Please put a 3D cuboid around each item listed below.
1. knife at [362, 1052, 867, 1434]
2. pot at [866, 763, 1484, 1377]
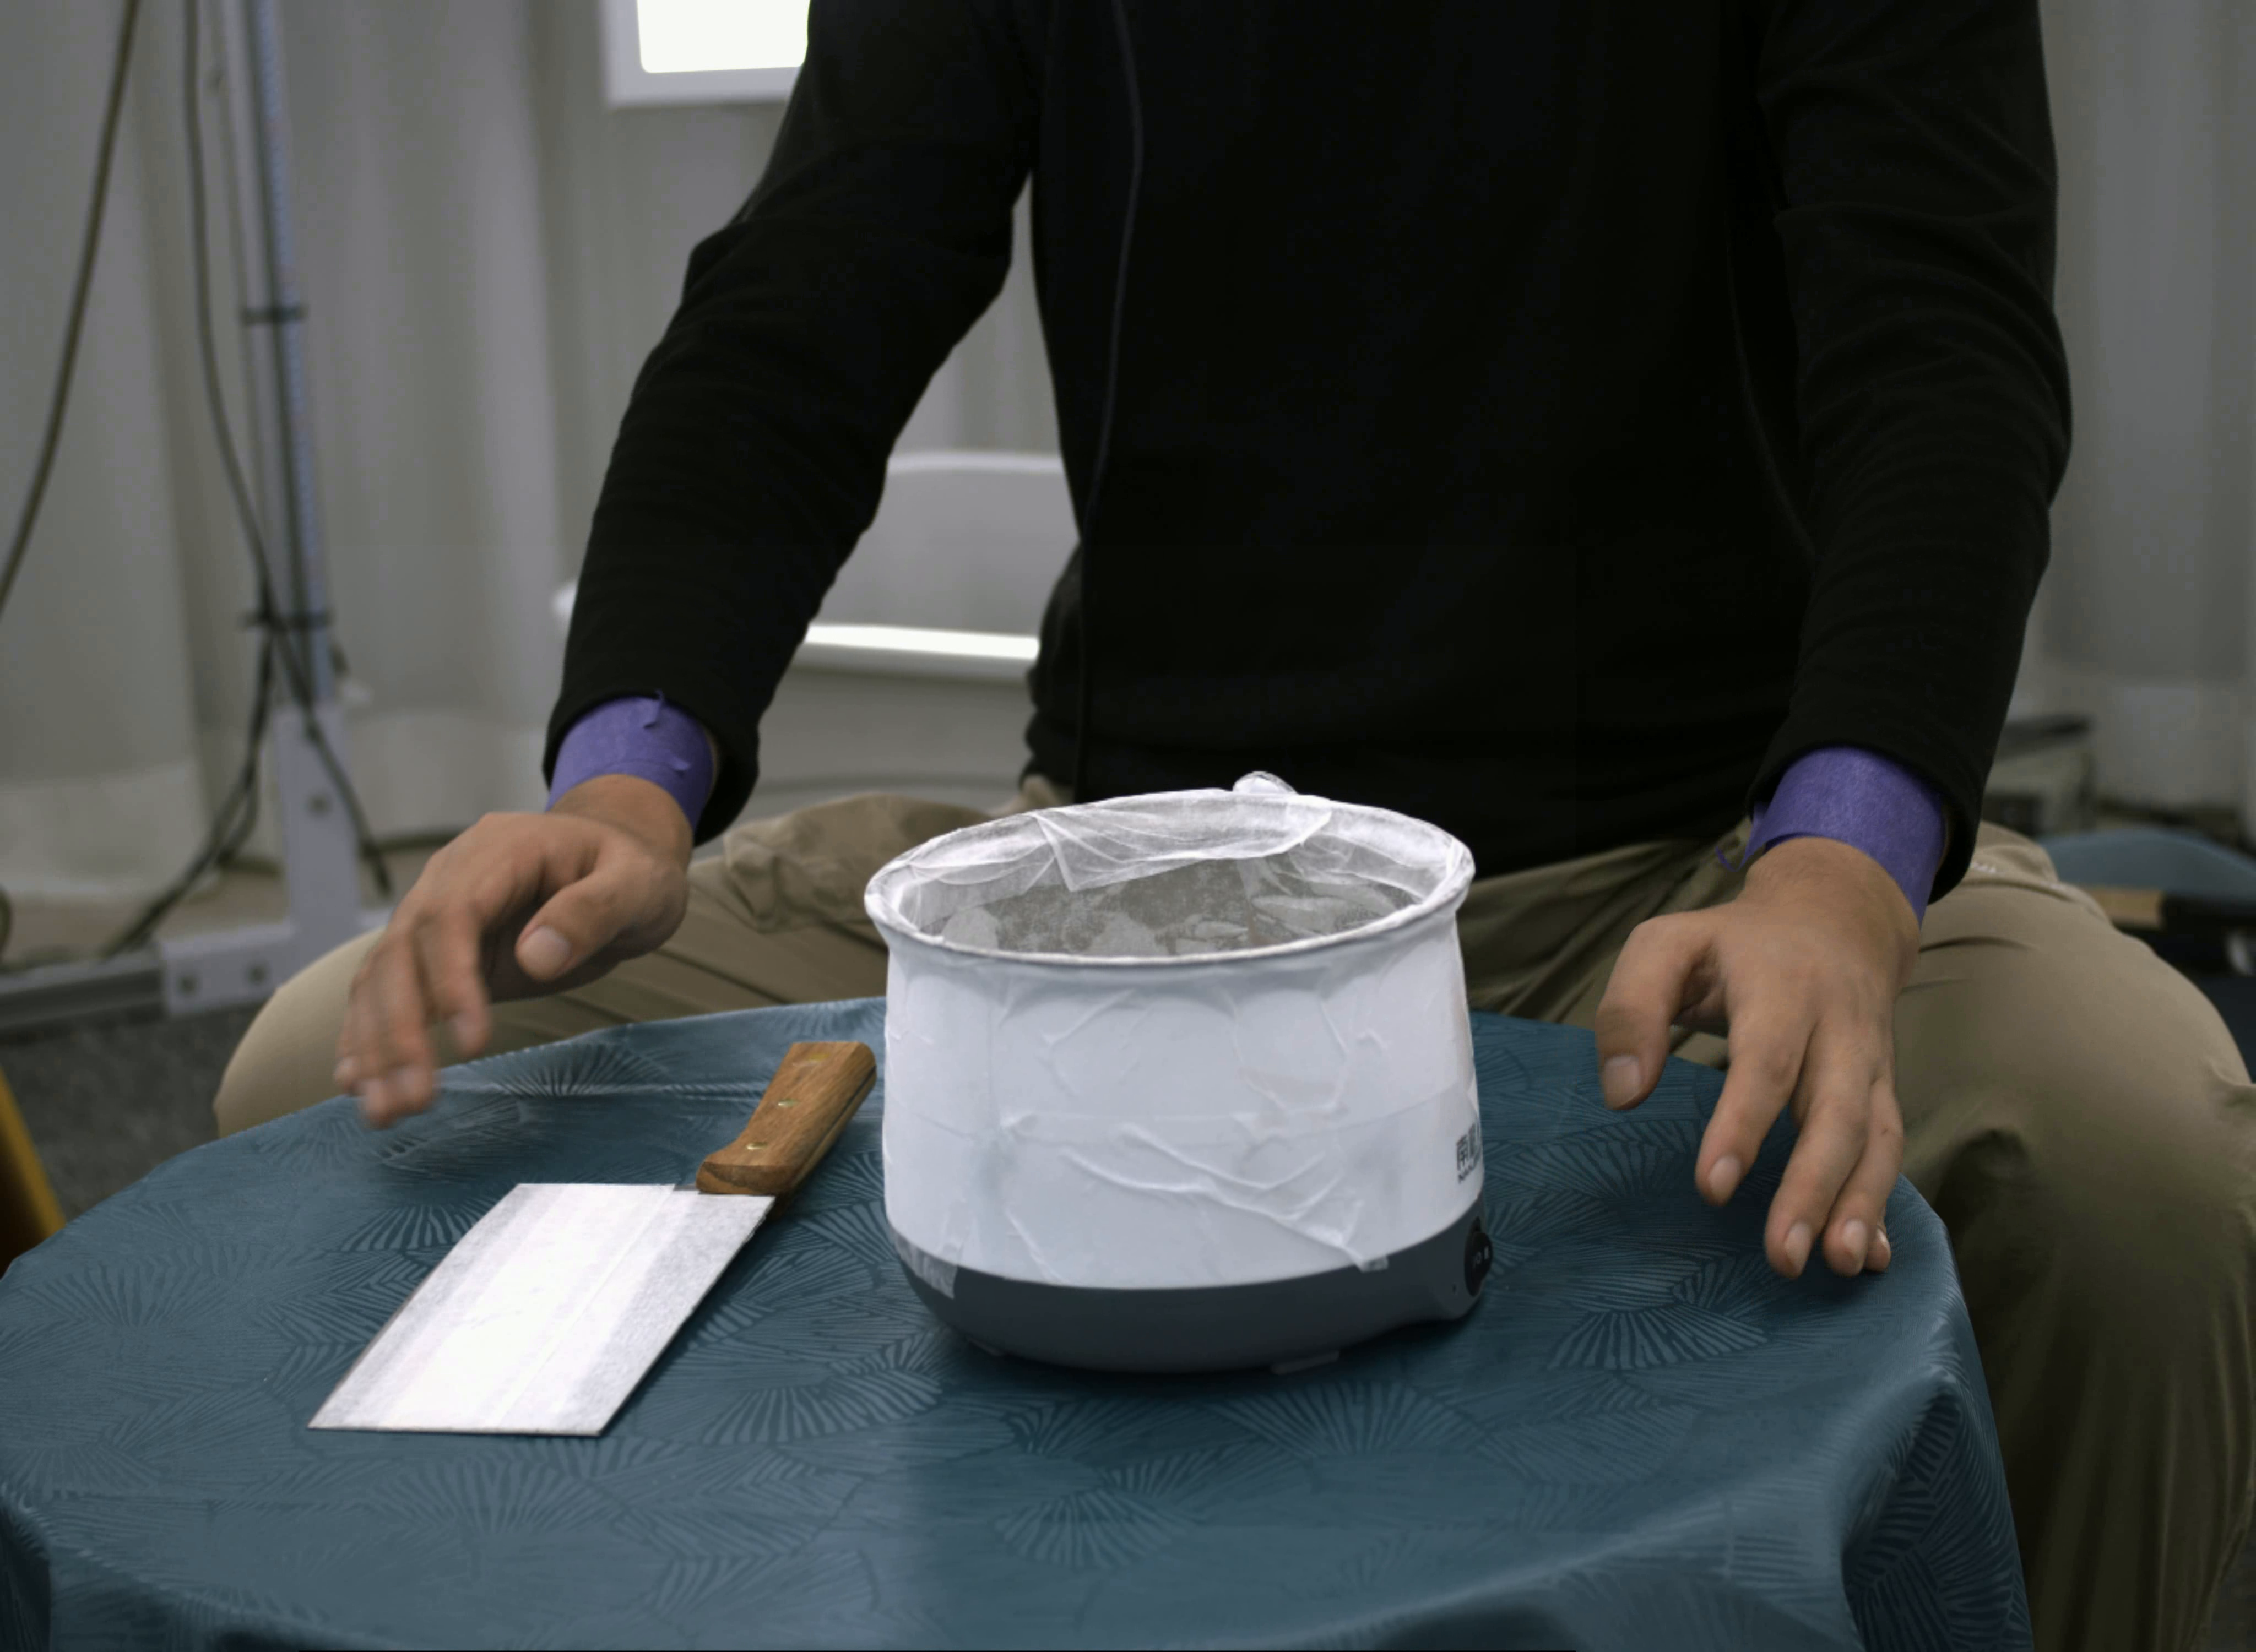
[{"bbox_3d":[-0.156,0.126,1.678,0.093,0.021,0.307,2,17,13],"label":"knife"},{"bbox_3d":[0.022,0.066,1.622,0.178,0.136,0.235,2,16,15],"label":"pot"}]
